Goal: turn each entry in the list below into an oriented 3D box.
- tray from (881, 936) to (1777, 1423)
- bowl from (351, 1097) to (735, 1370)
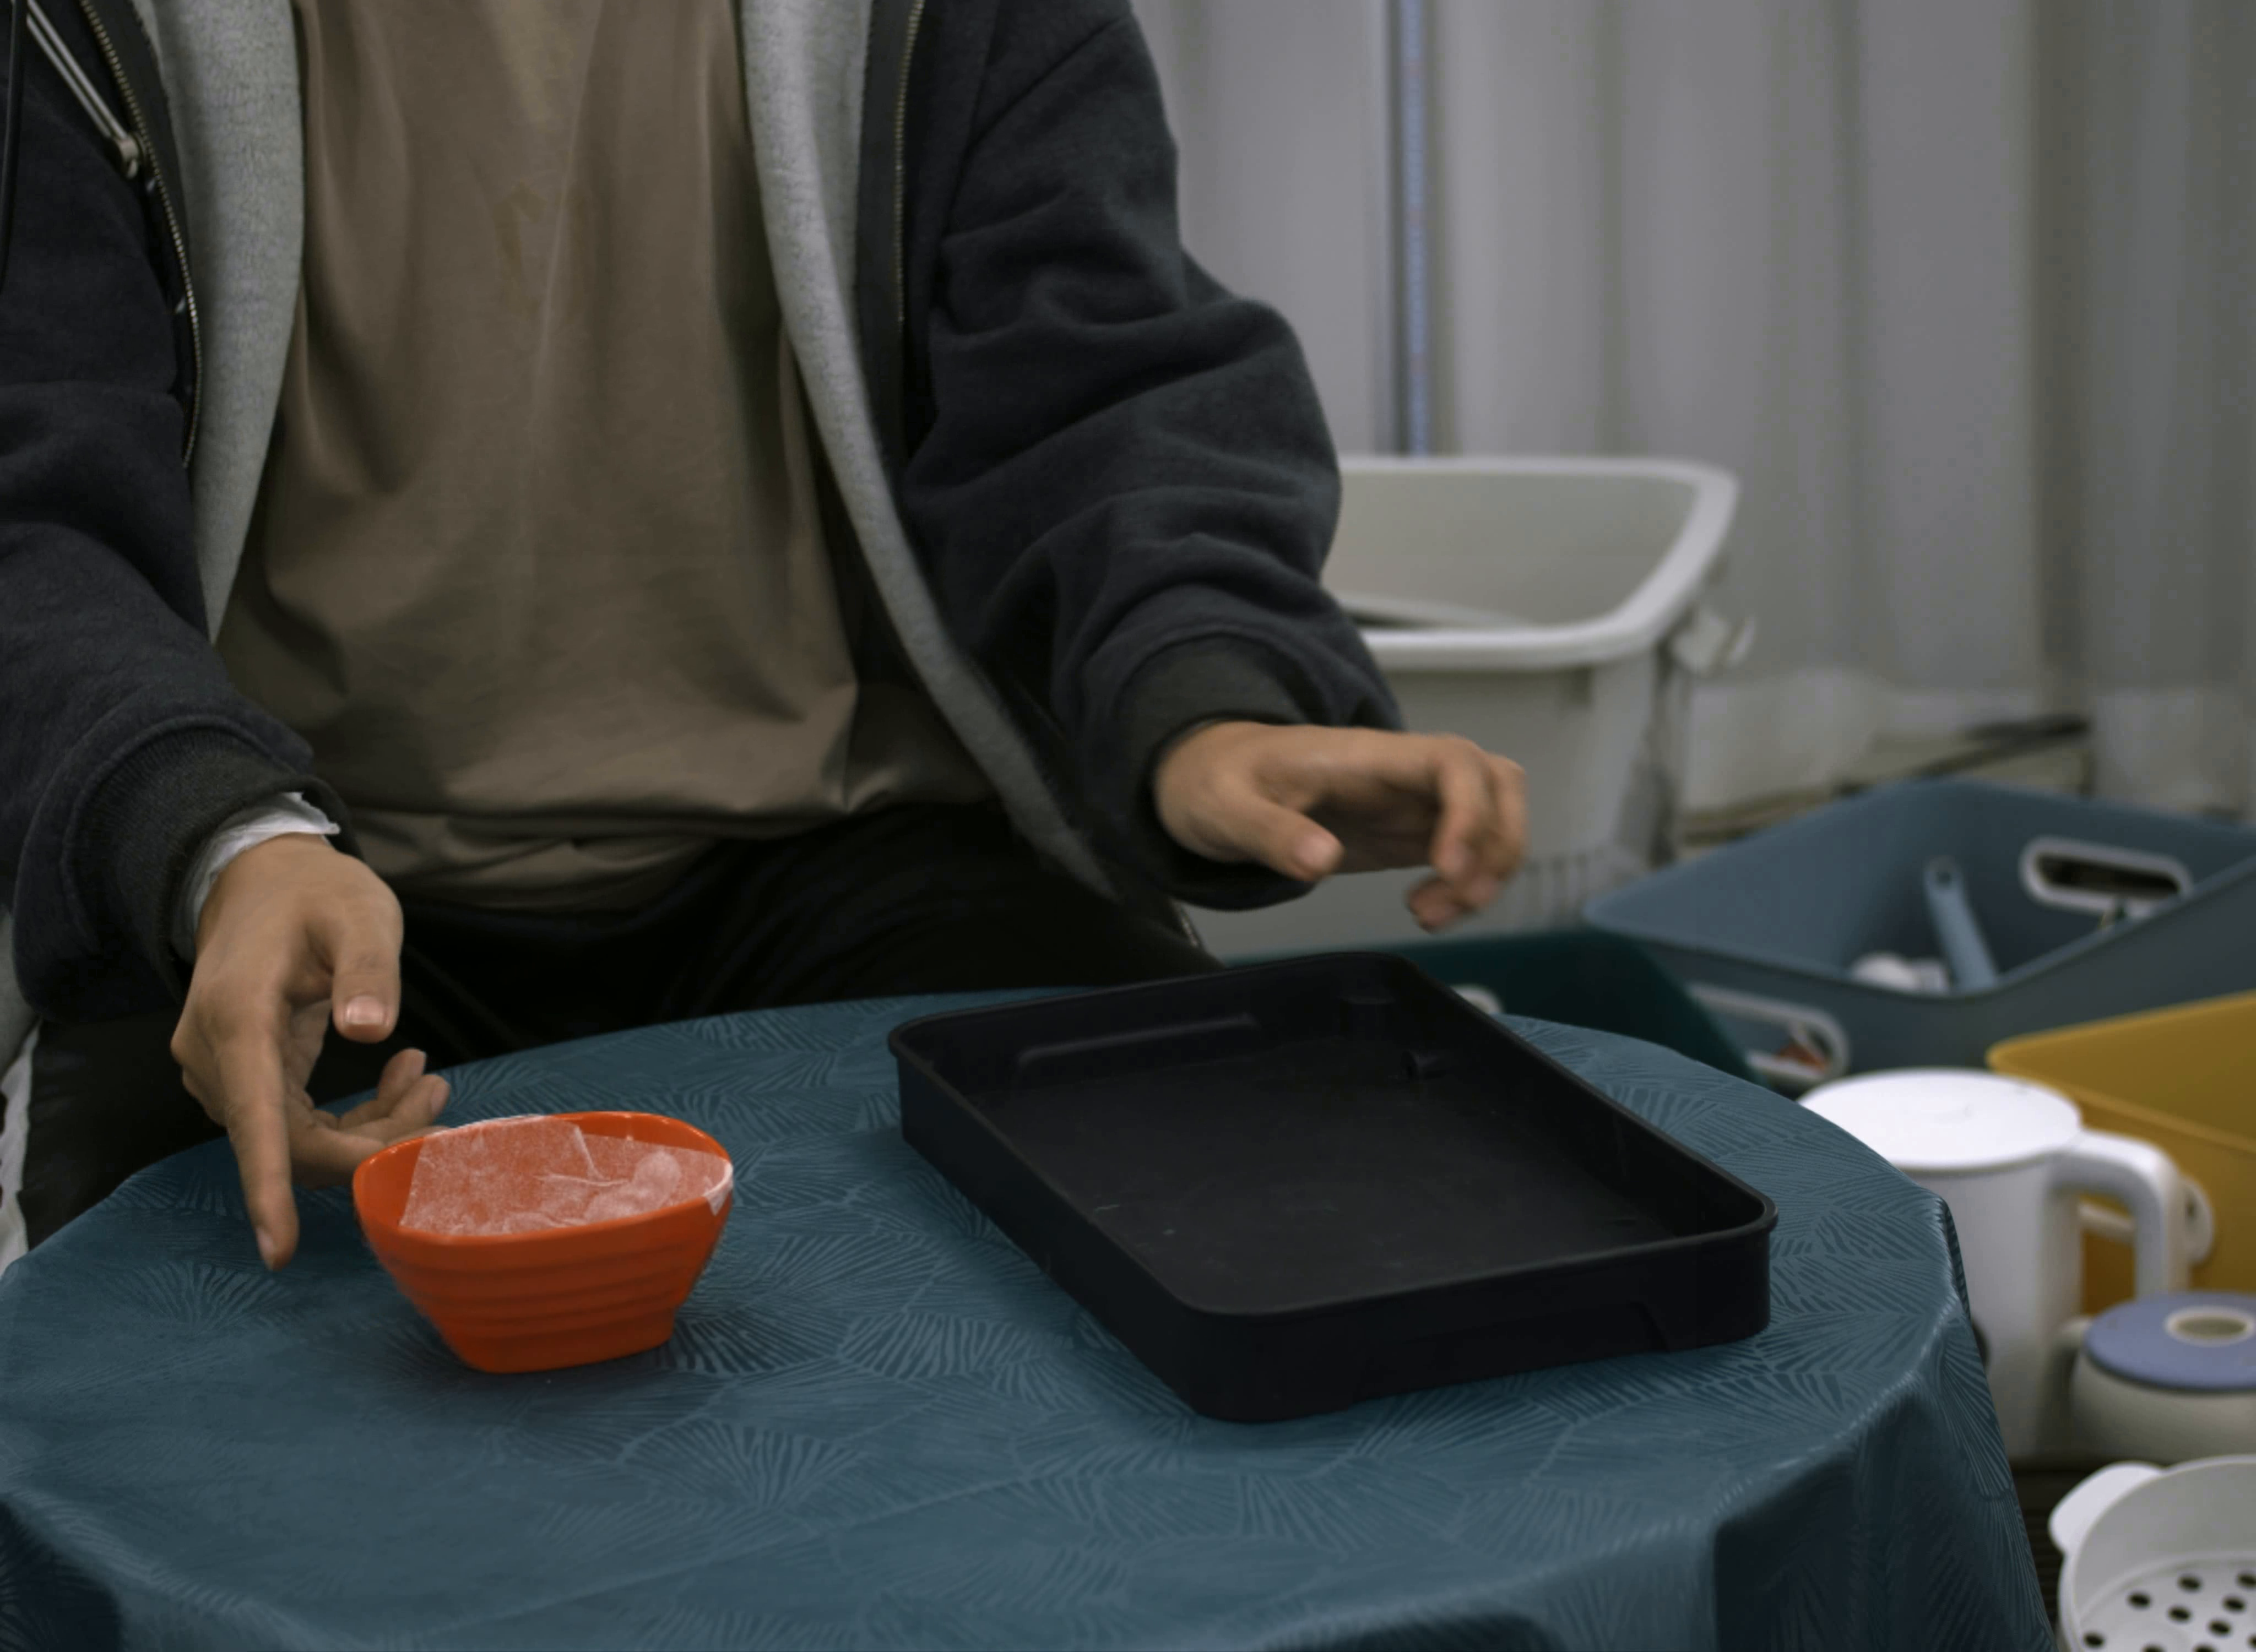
[{"bbox_3d":[0.053,0.102,1.676,0.183,0.037,0.320,-8,17,-18],"label":"tray"},{"bbox_3d":[-0.171,0.123,1.612,0.118,0.051,0.120,-3,17,1],"label":"bowl"}]
